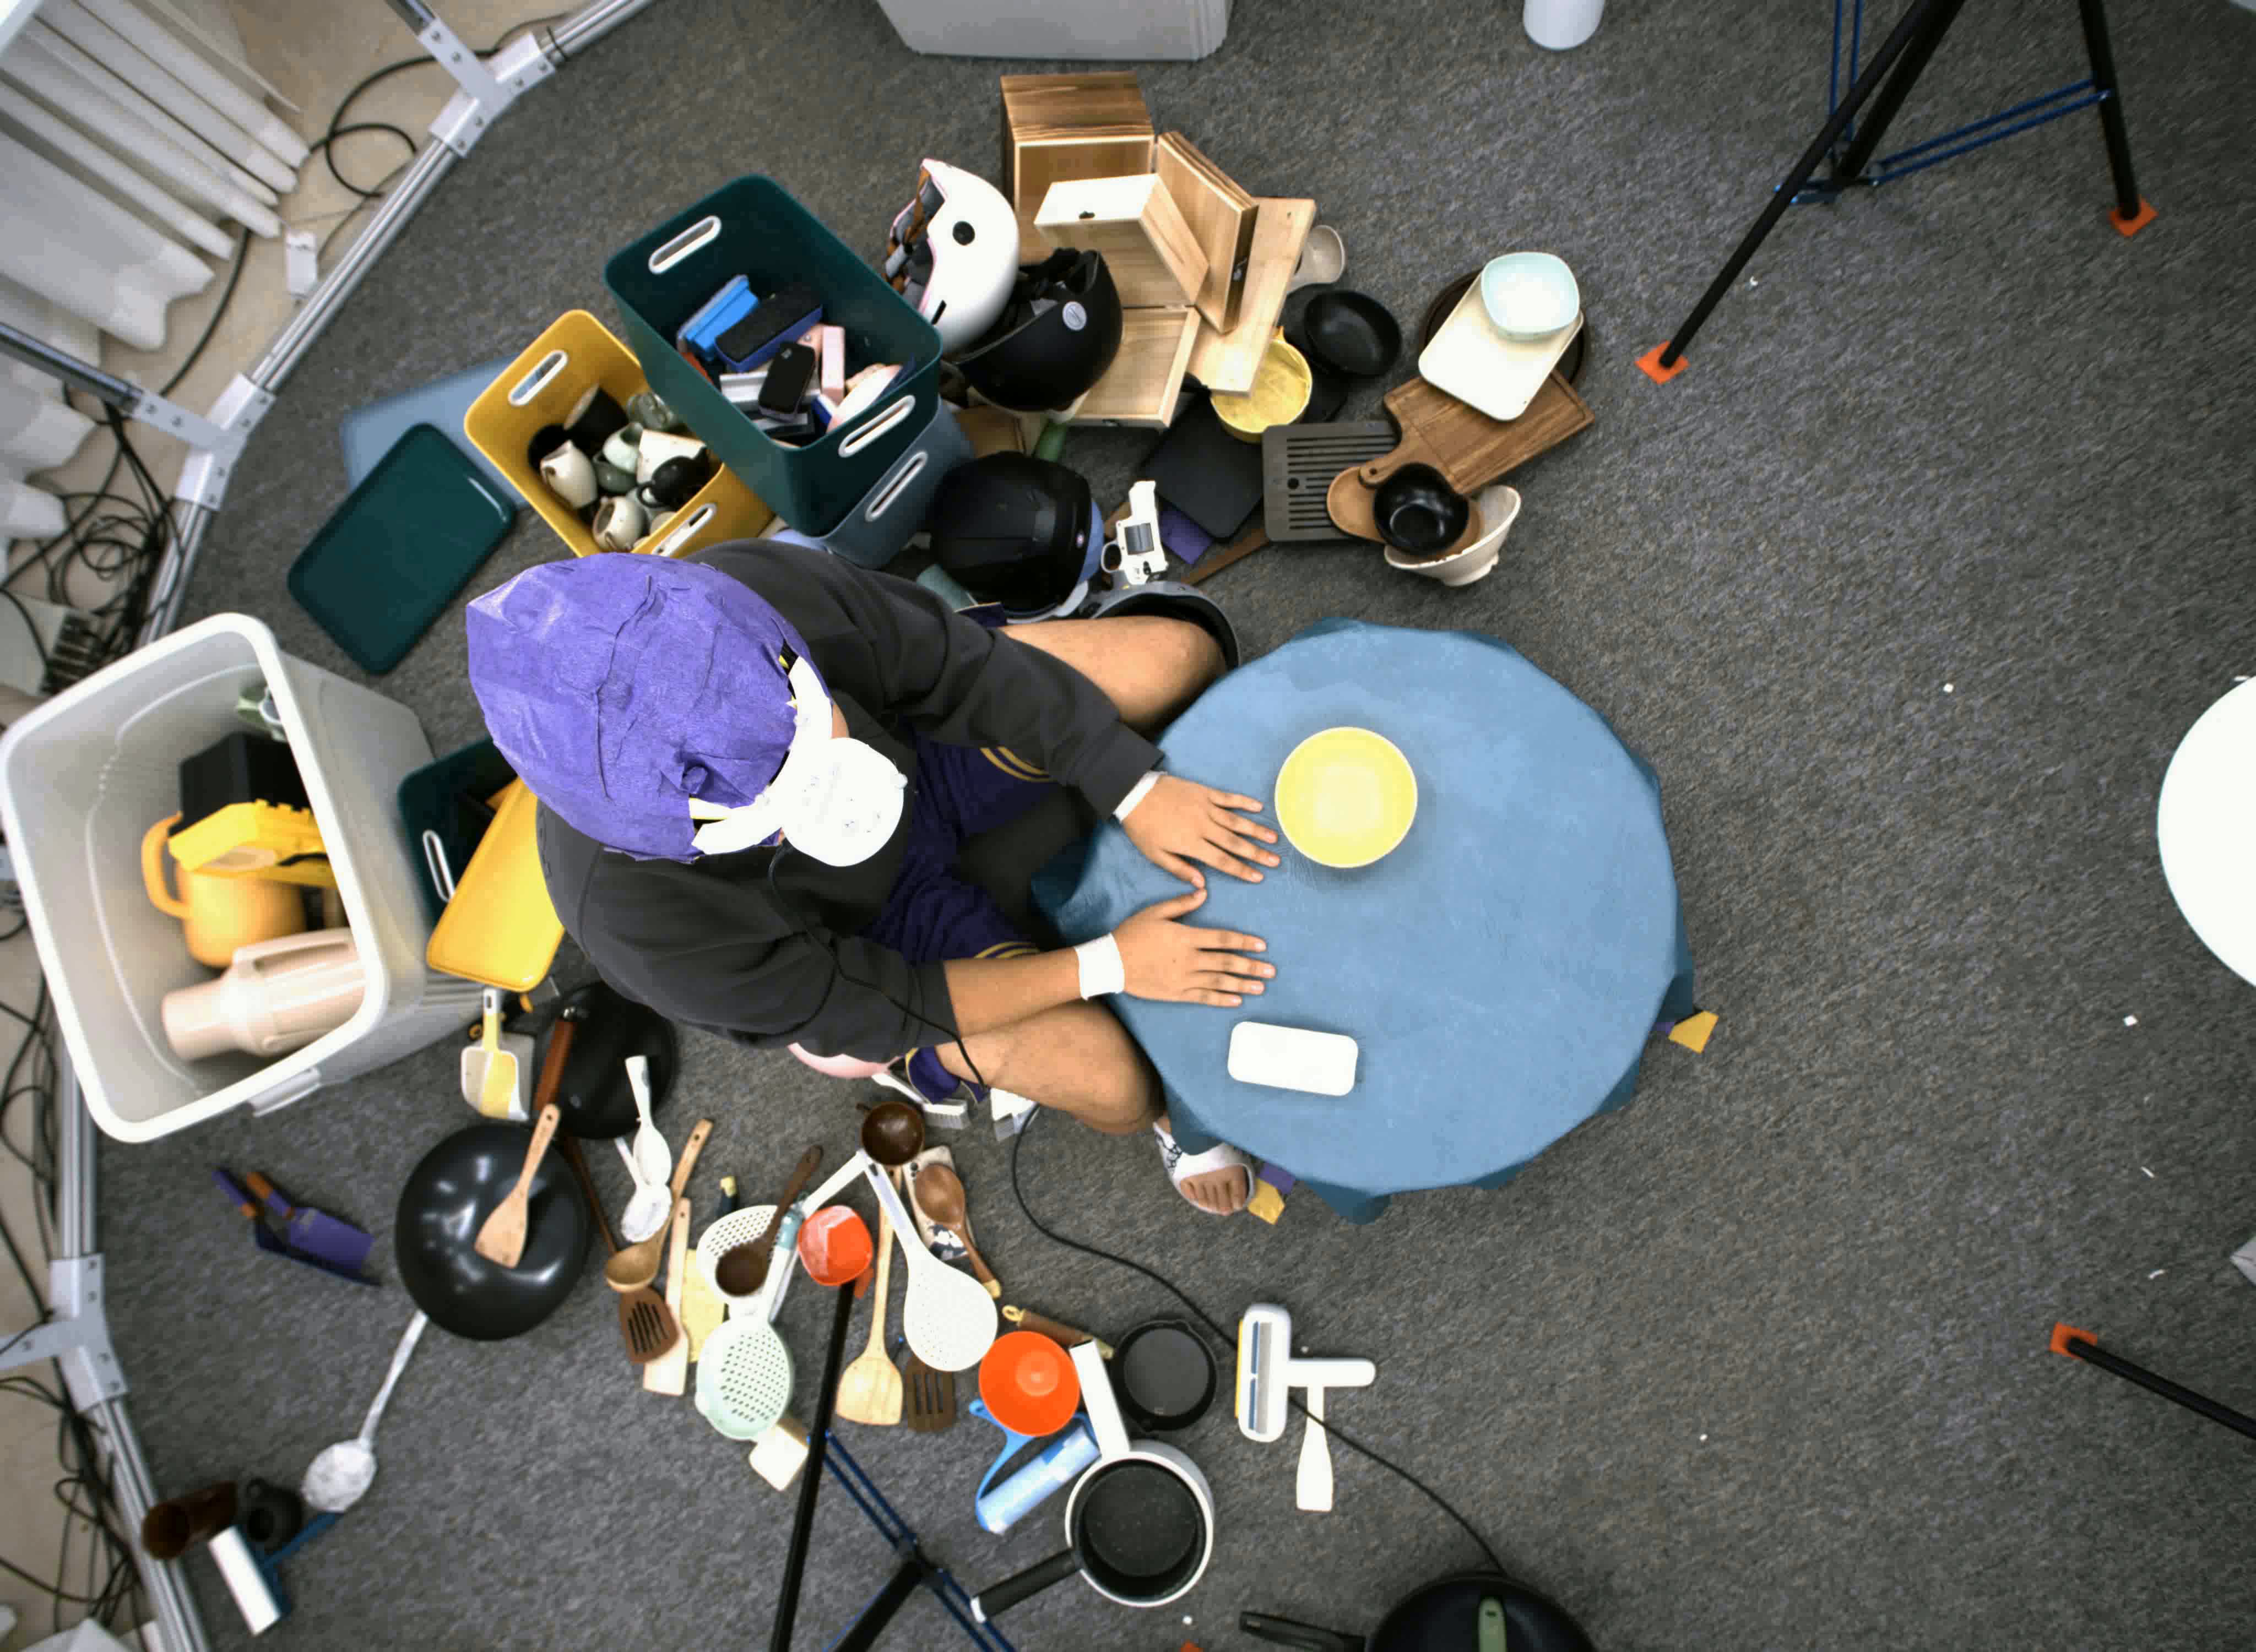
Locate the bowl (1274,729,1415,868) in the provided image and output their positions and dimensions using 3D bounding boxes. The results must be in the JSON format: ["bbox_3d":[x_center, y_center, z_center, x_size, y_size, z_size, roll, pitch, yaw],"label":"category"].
[{"bbox_3d":[0.227,-0.026,1.445,0.146,0.060,0.144,-1,85,12],"label":"bowl"}]

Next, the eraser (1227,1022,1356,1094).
[{"bbox_3d":[0.171,0.240,1.452,0.131,0.034,0.063,8,87,10],"label":"eraser"}]
